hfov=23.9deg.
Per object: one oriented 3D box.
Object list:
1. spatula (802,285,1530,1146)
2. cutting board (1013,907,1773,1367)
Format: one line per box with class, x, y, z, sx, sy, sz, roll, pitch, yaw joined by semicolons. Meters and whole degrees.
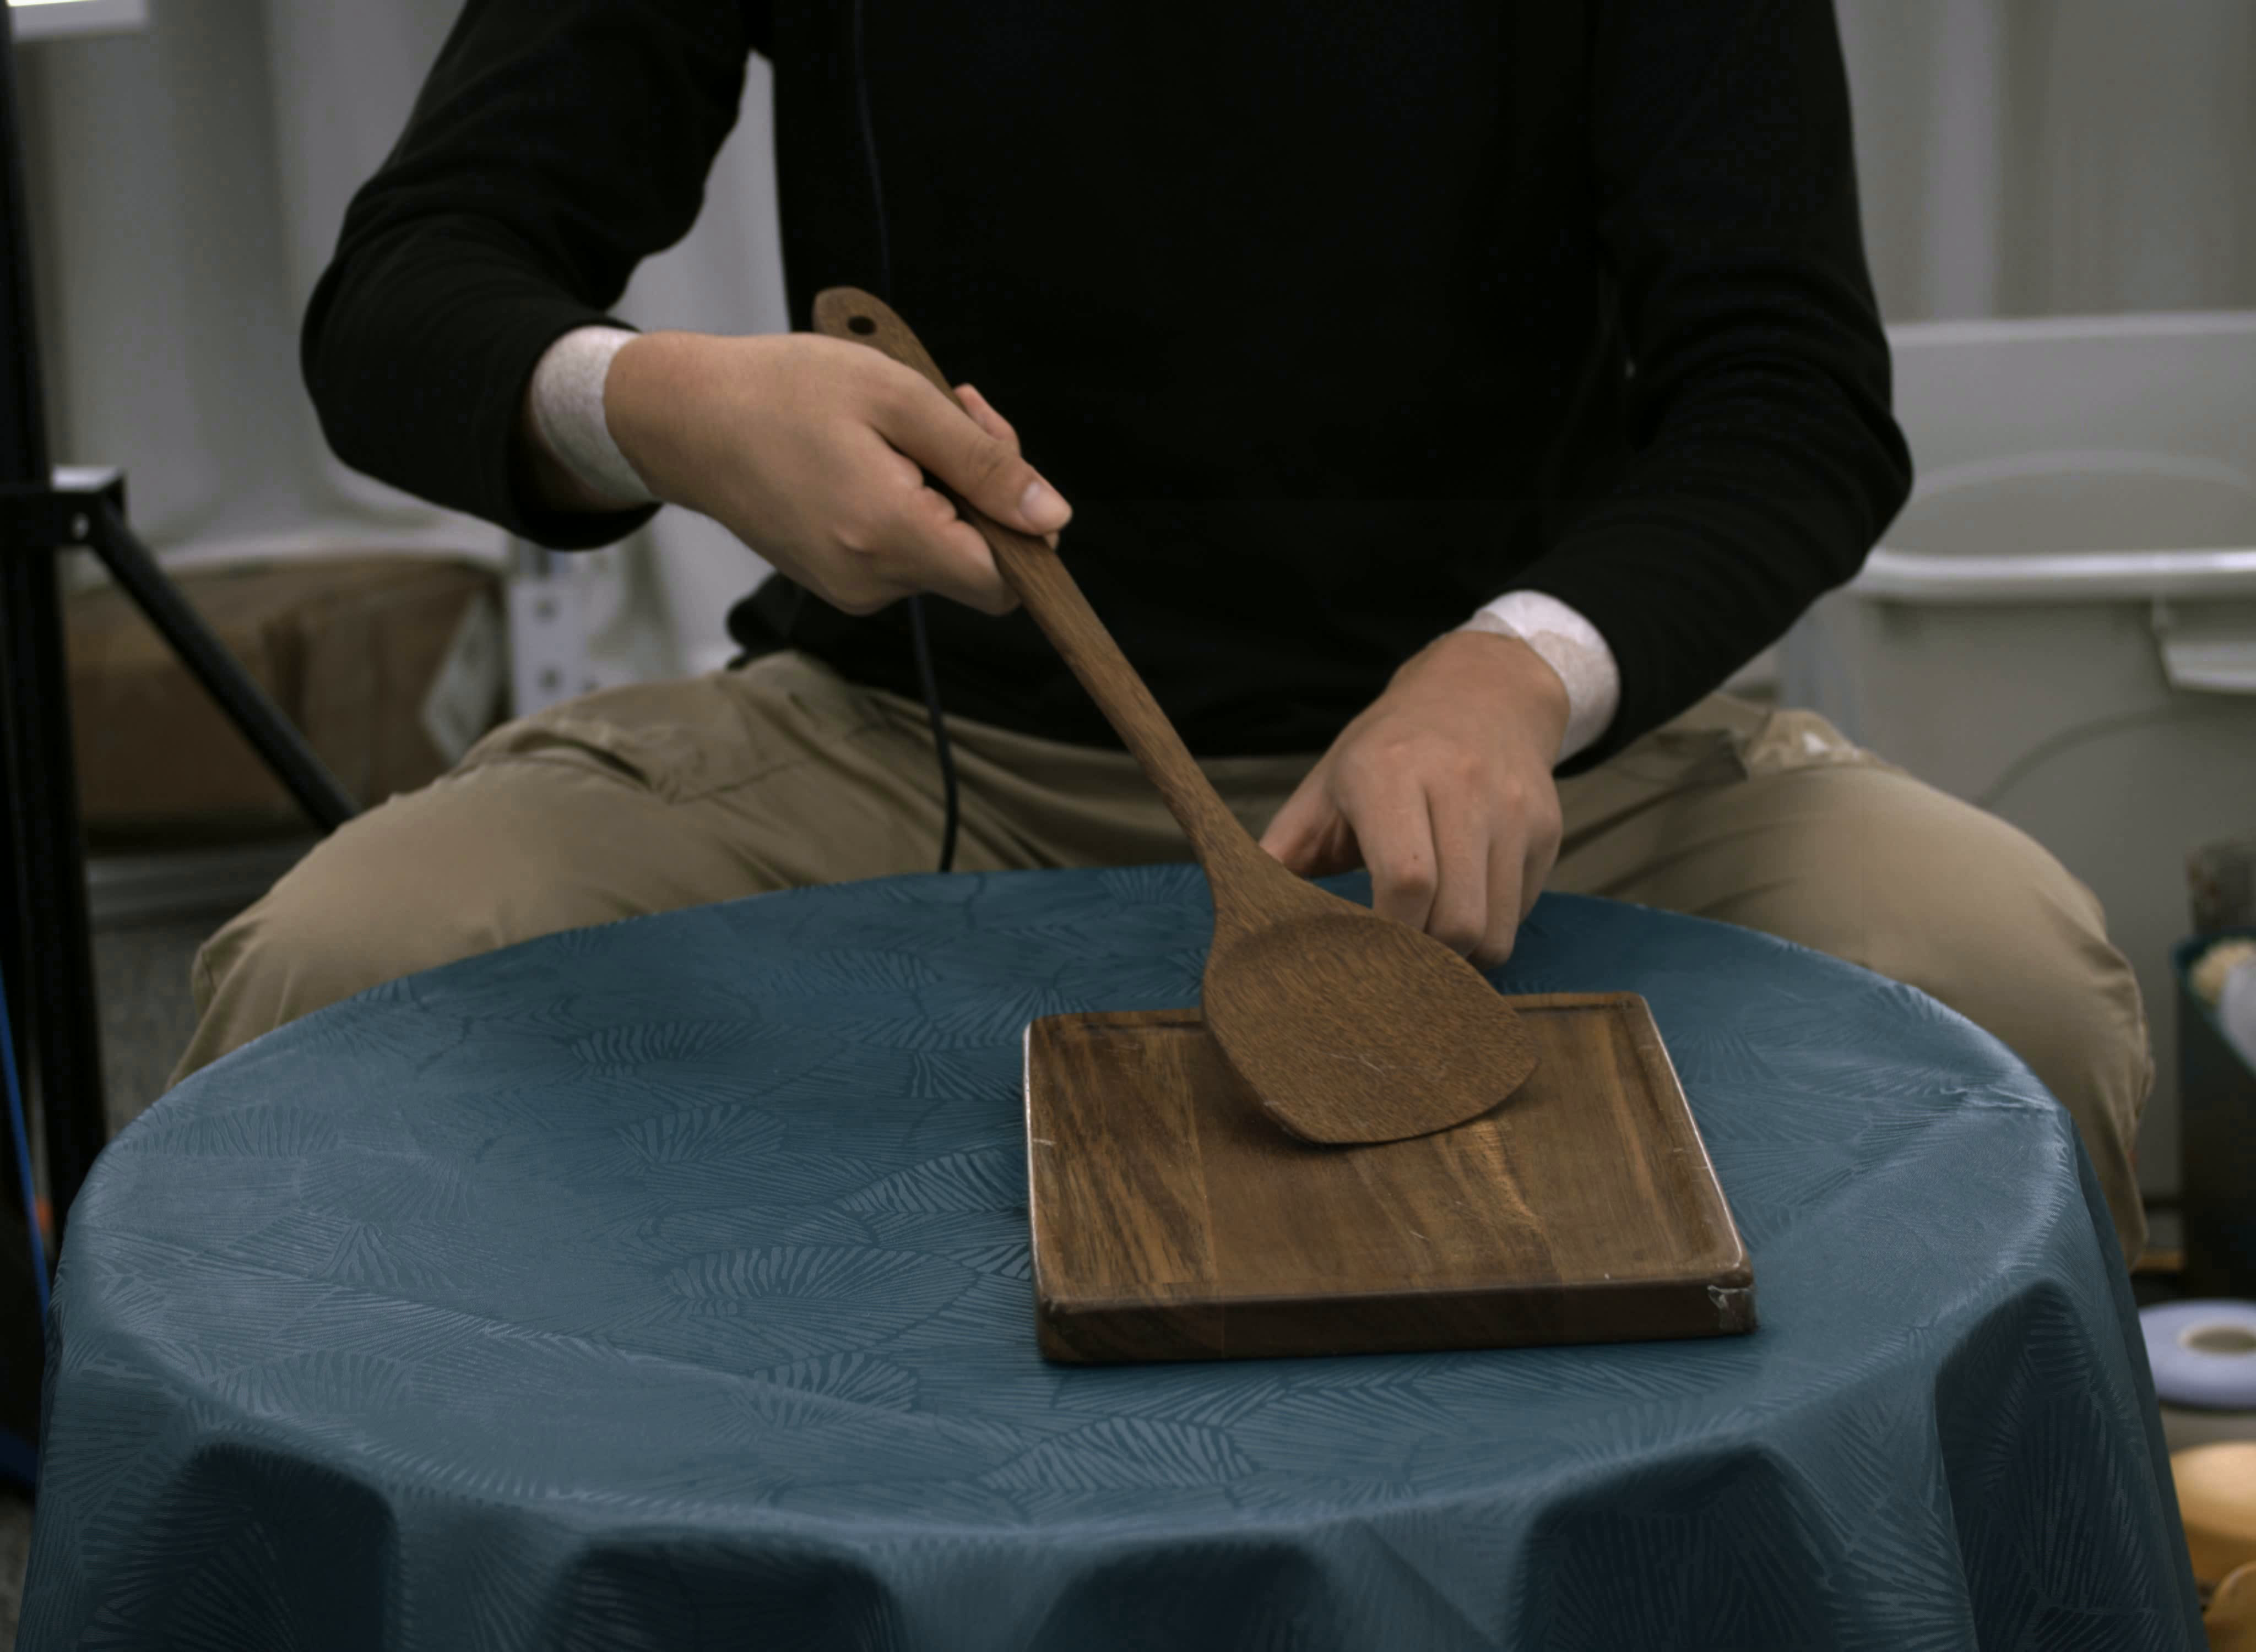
spatula;-0.006;-0.045;1.658;0.094;0.016;0.393;-16;53;-27
cutting board;0.067;0.084;1.585;0.200;0.023;0.354;-3;16;-1
